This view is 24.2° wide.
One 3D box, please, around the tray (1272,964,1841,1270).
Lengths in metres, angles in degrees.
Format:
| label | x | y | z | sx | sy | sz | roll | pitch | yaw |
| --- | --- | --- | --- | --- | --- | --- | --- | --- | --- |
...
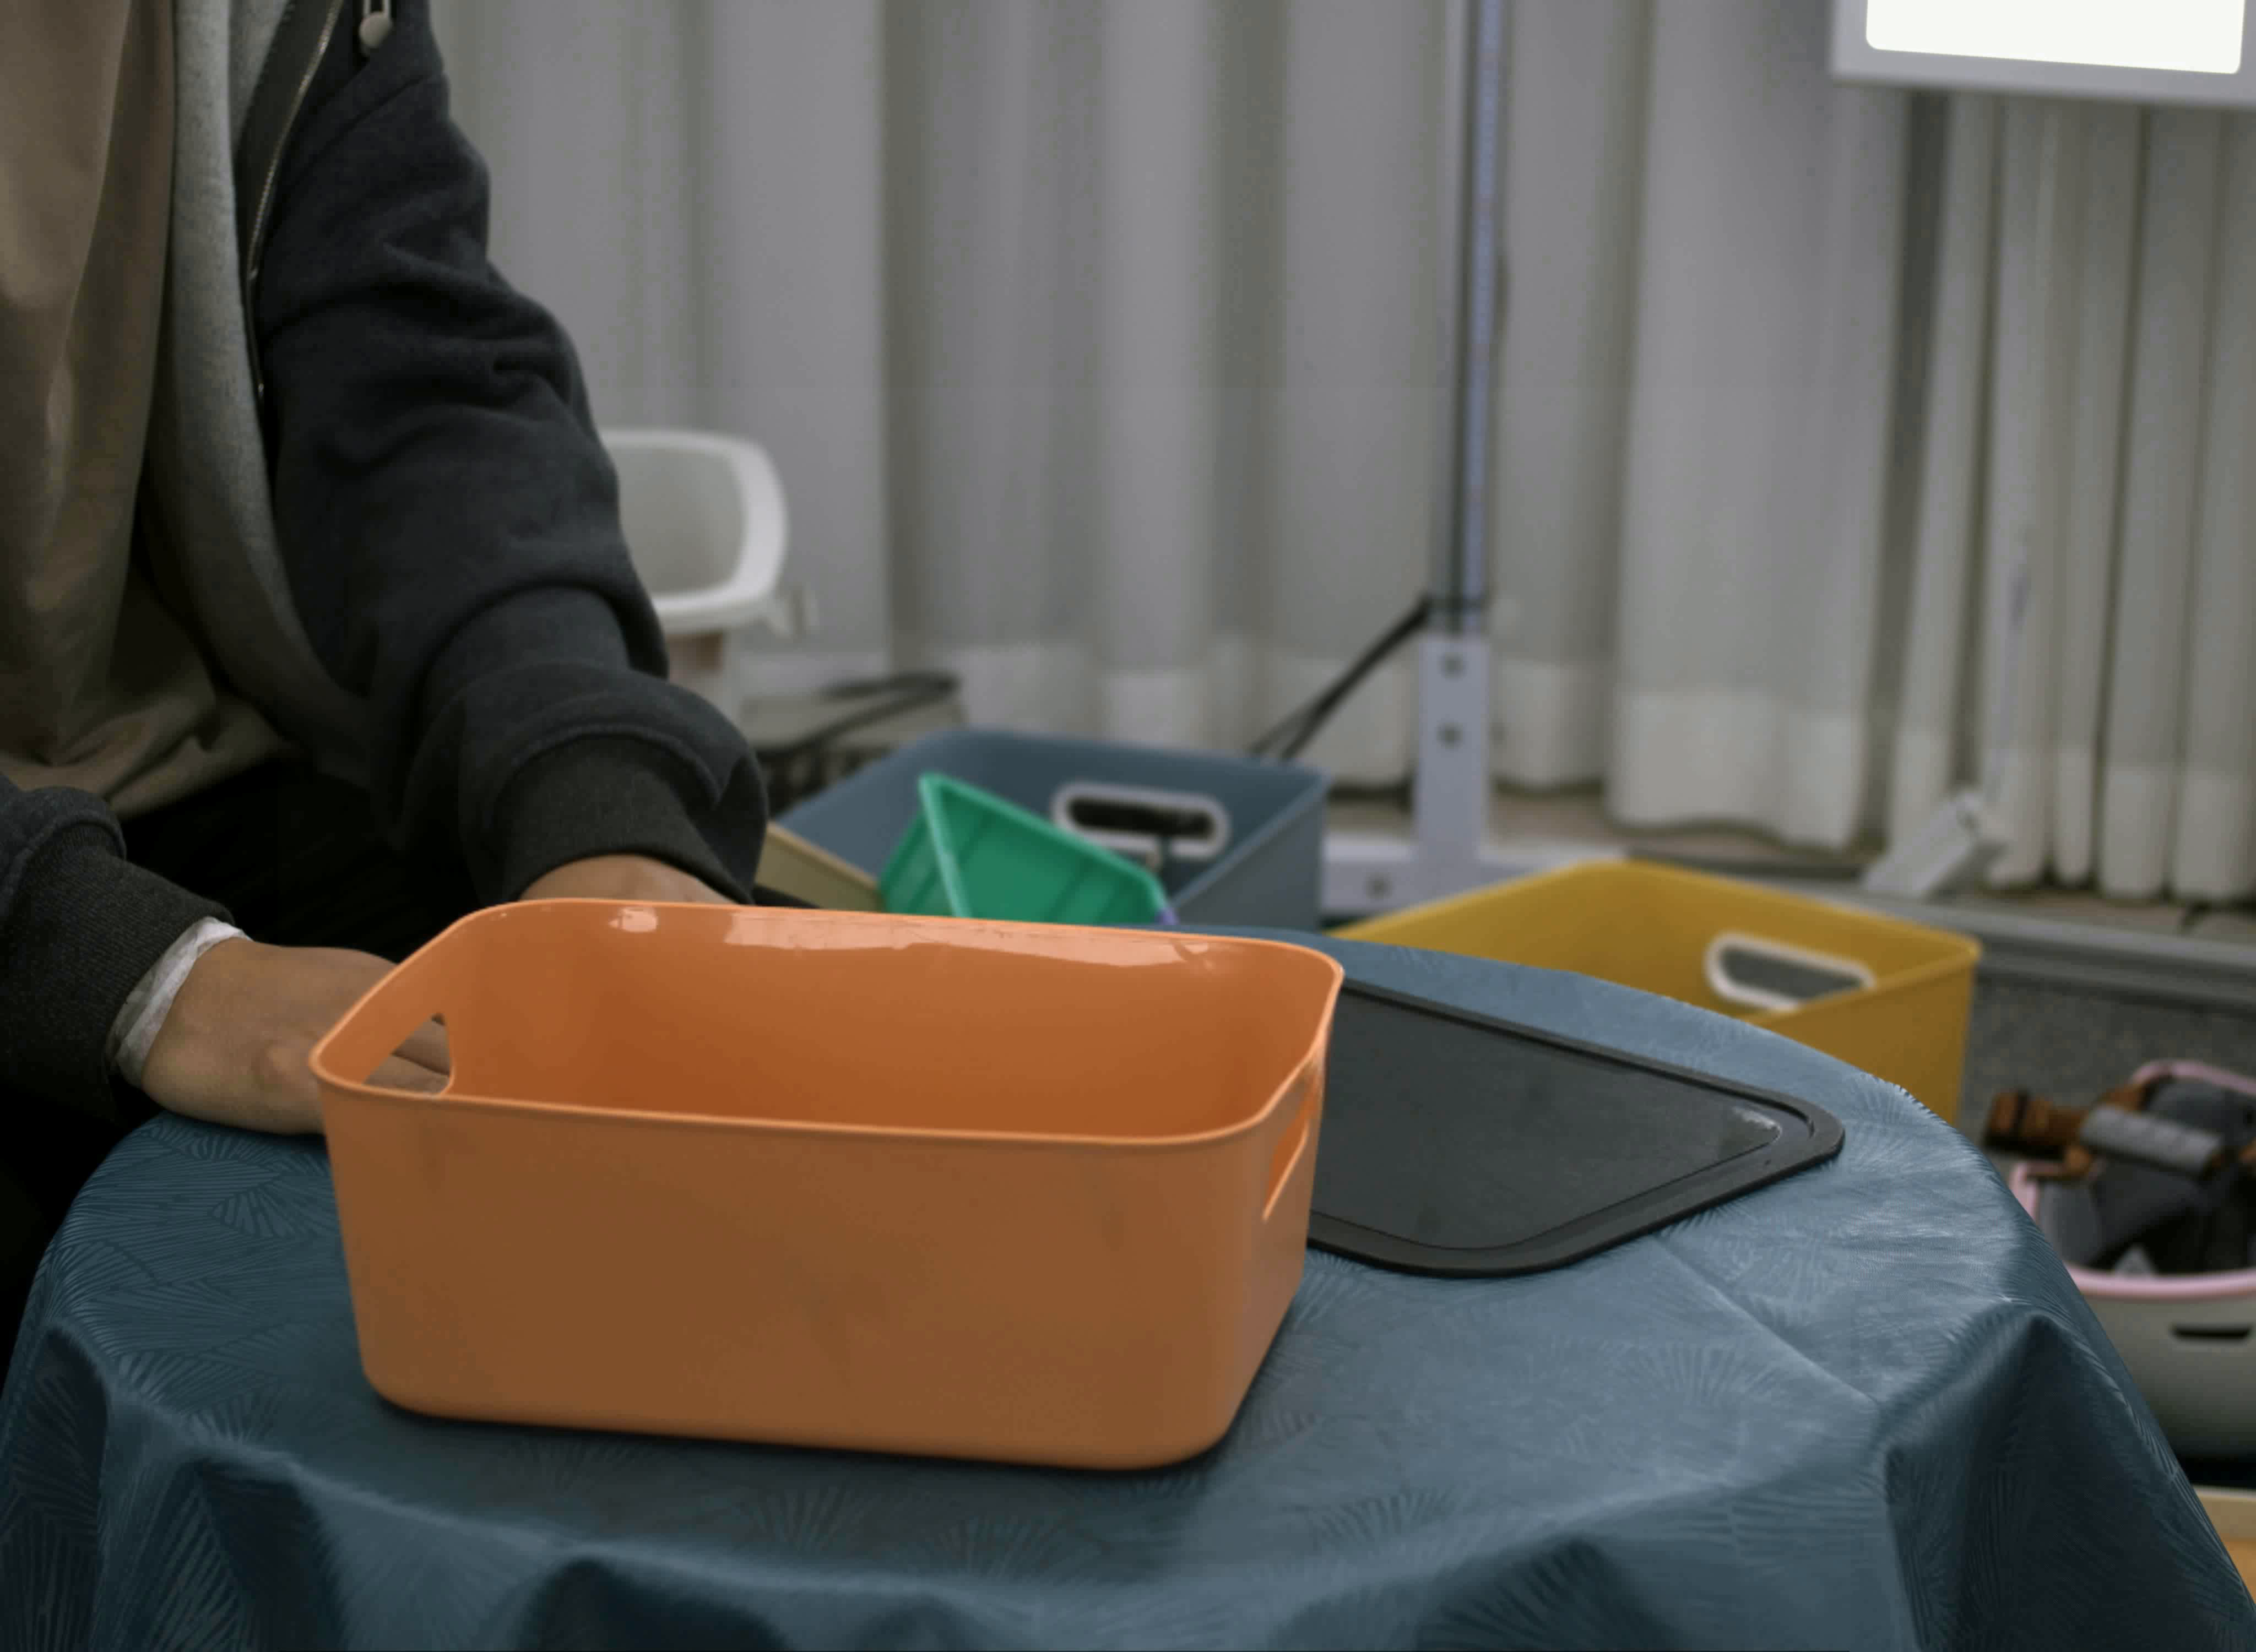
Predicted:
| label | x | y | z | sx | sy | sz | roll | pitch | yaw |
| --- | --- | --- | --- | --- | --- | --- | --- | --- | --- |
| tray | 0.055 | 0.086 | 1.707 | 0.321 | 0.010 | 0.212 | 14 | 20 | 40 |

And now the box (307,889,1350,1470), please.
| label | x | y | z | sx | sy | sz | roll | pitch | yaw |
| --- | --- | --- | --- | --- | --- | --- | --- | --- | --- |
| box | -0.079 | 0.097 | 1.479 | 0.271 | 0.103 | 0.199 | 4 | 16 | 10 |
